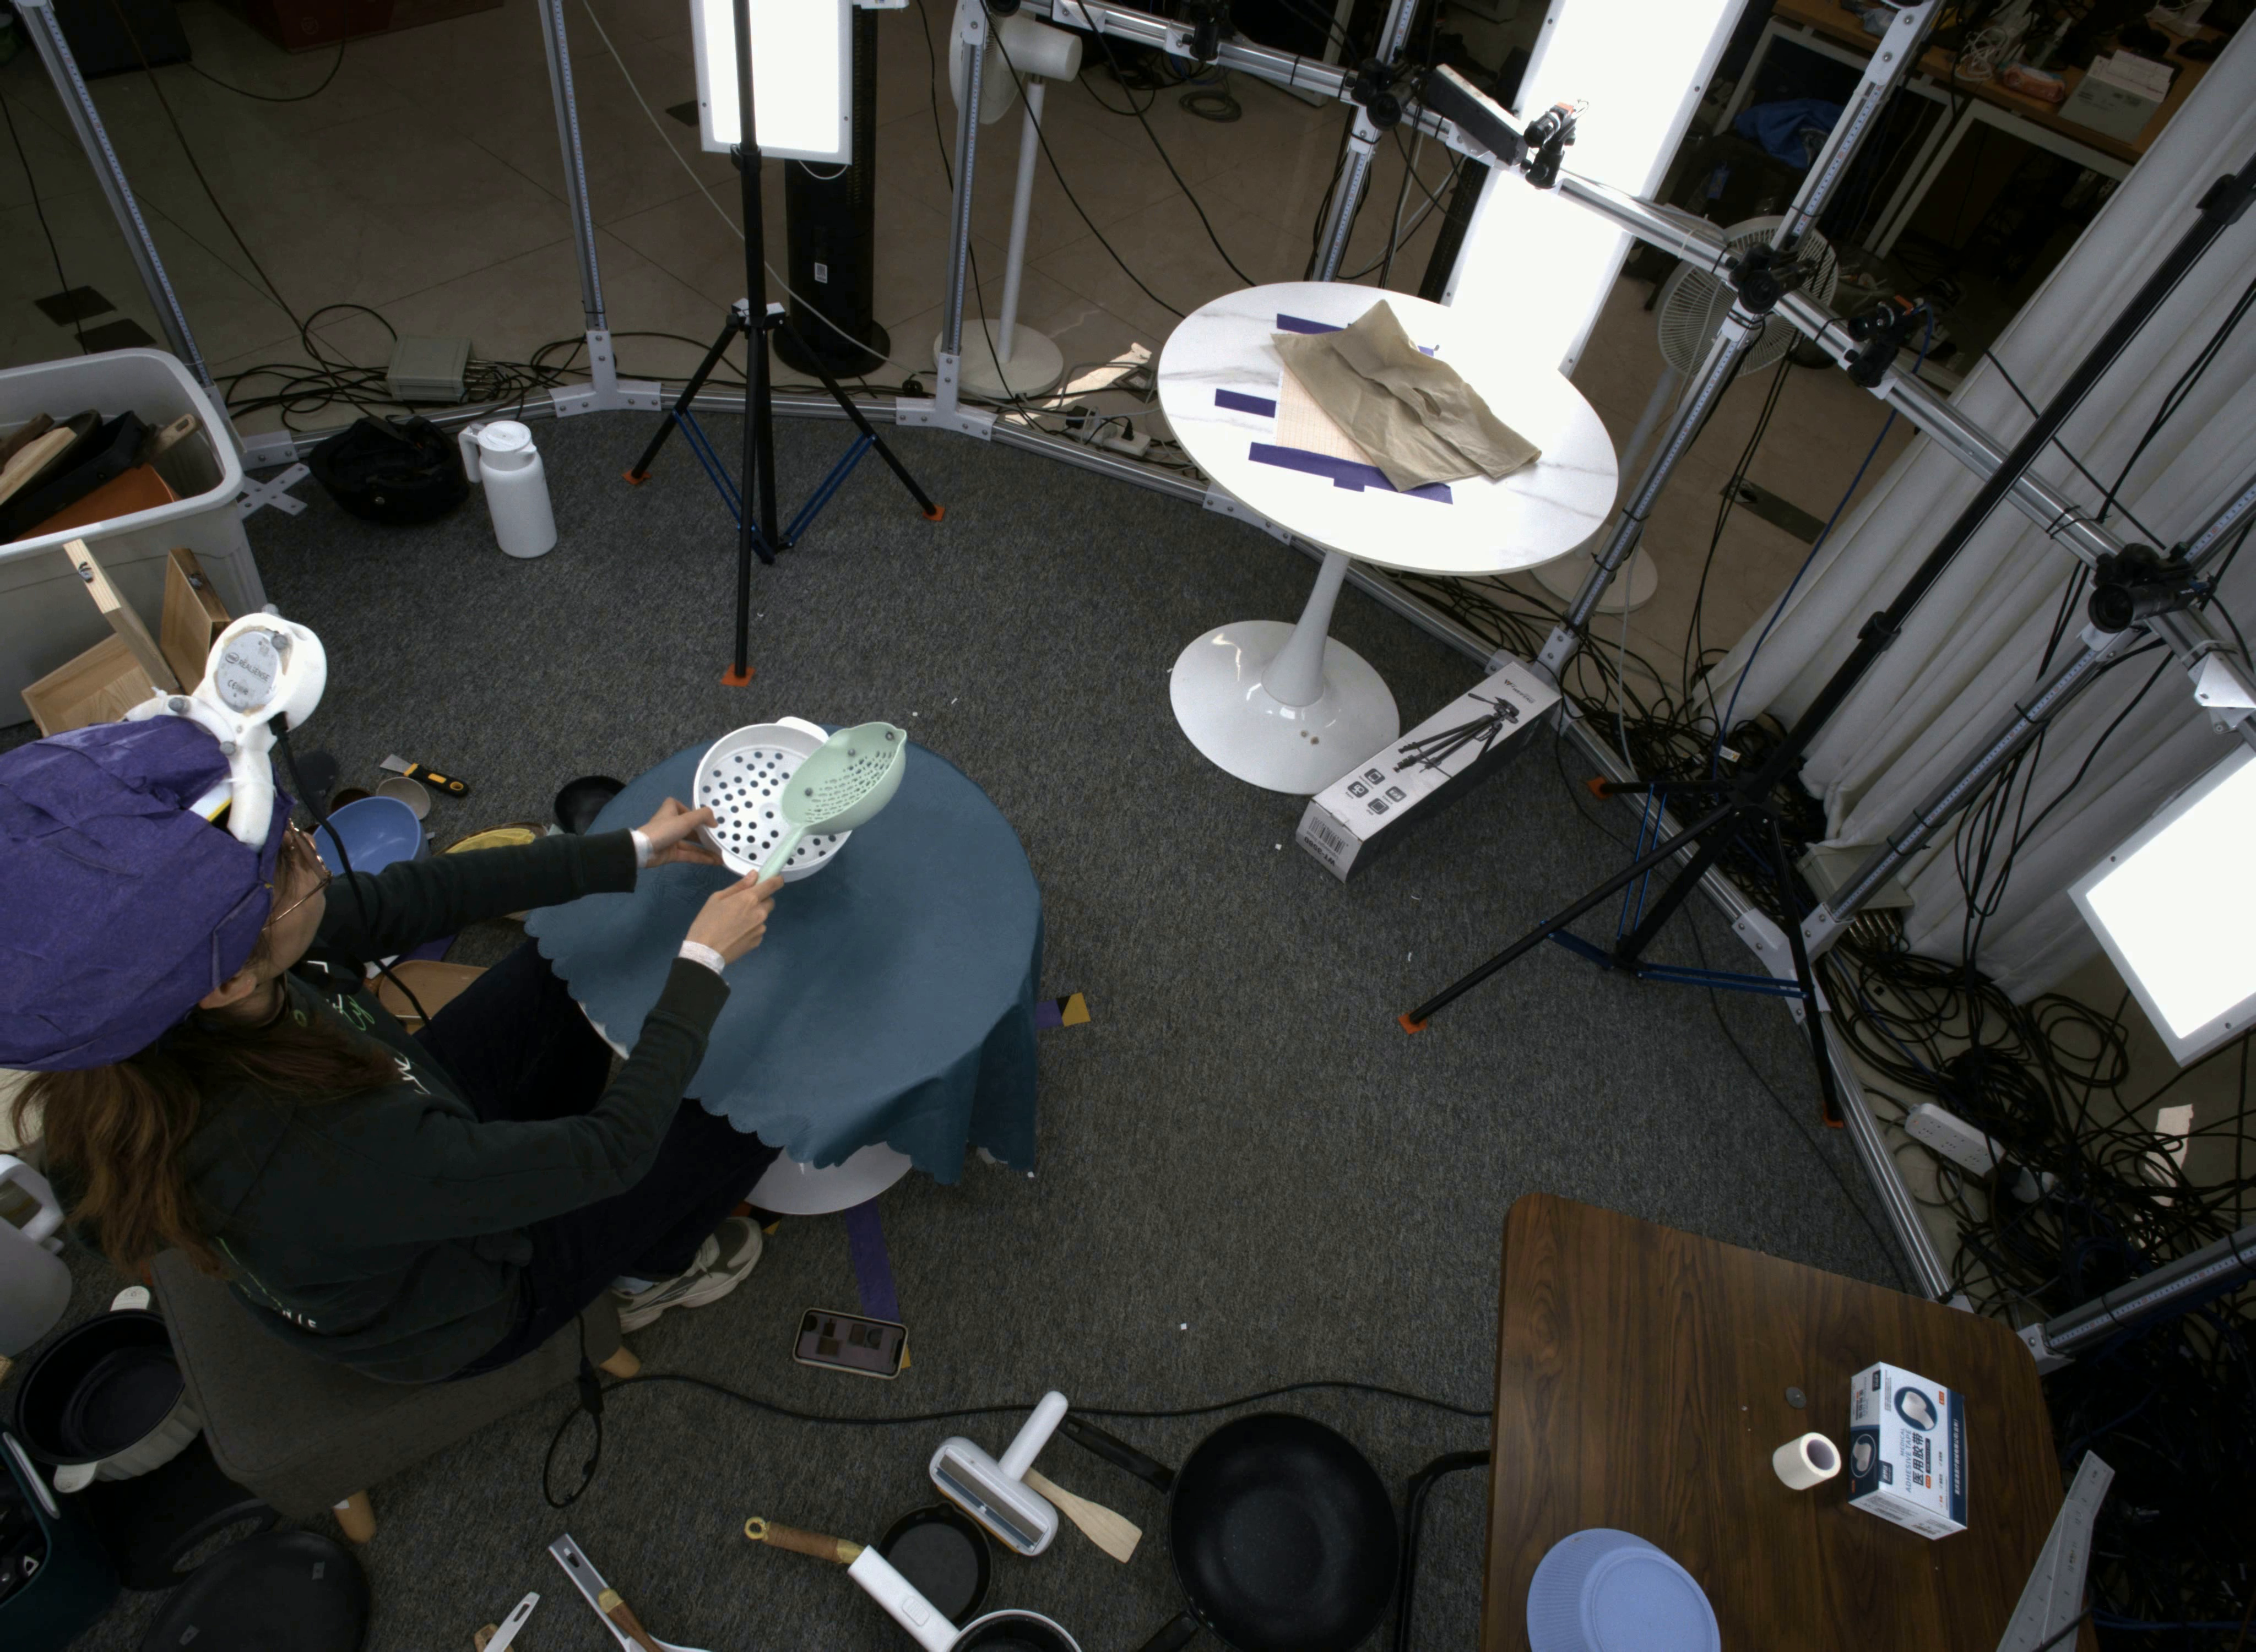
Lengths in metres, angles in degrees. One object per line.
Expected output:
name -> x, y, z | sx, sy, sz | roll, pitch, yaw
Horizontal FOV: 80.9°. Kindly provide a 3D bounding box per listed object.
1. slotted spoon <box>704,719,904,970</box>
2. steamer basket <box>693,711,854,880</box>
slotted spoon -> -0.384, 0.012, 1.501 | 0.163, 0.078, 0.358 | 3, 42, 40
steamer basket -> -0.446, -0.032, 1.630 | 0.204, 0.069, 0.228 | 21, 61, -16
